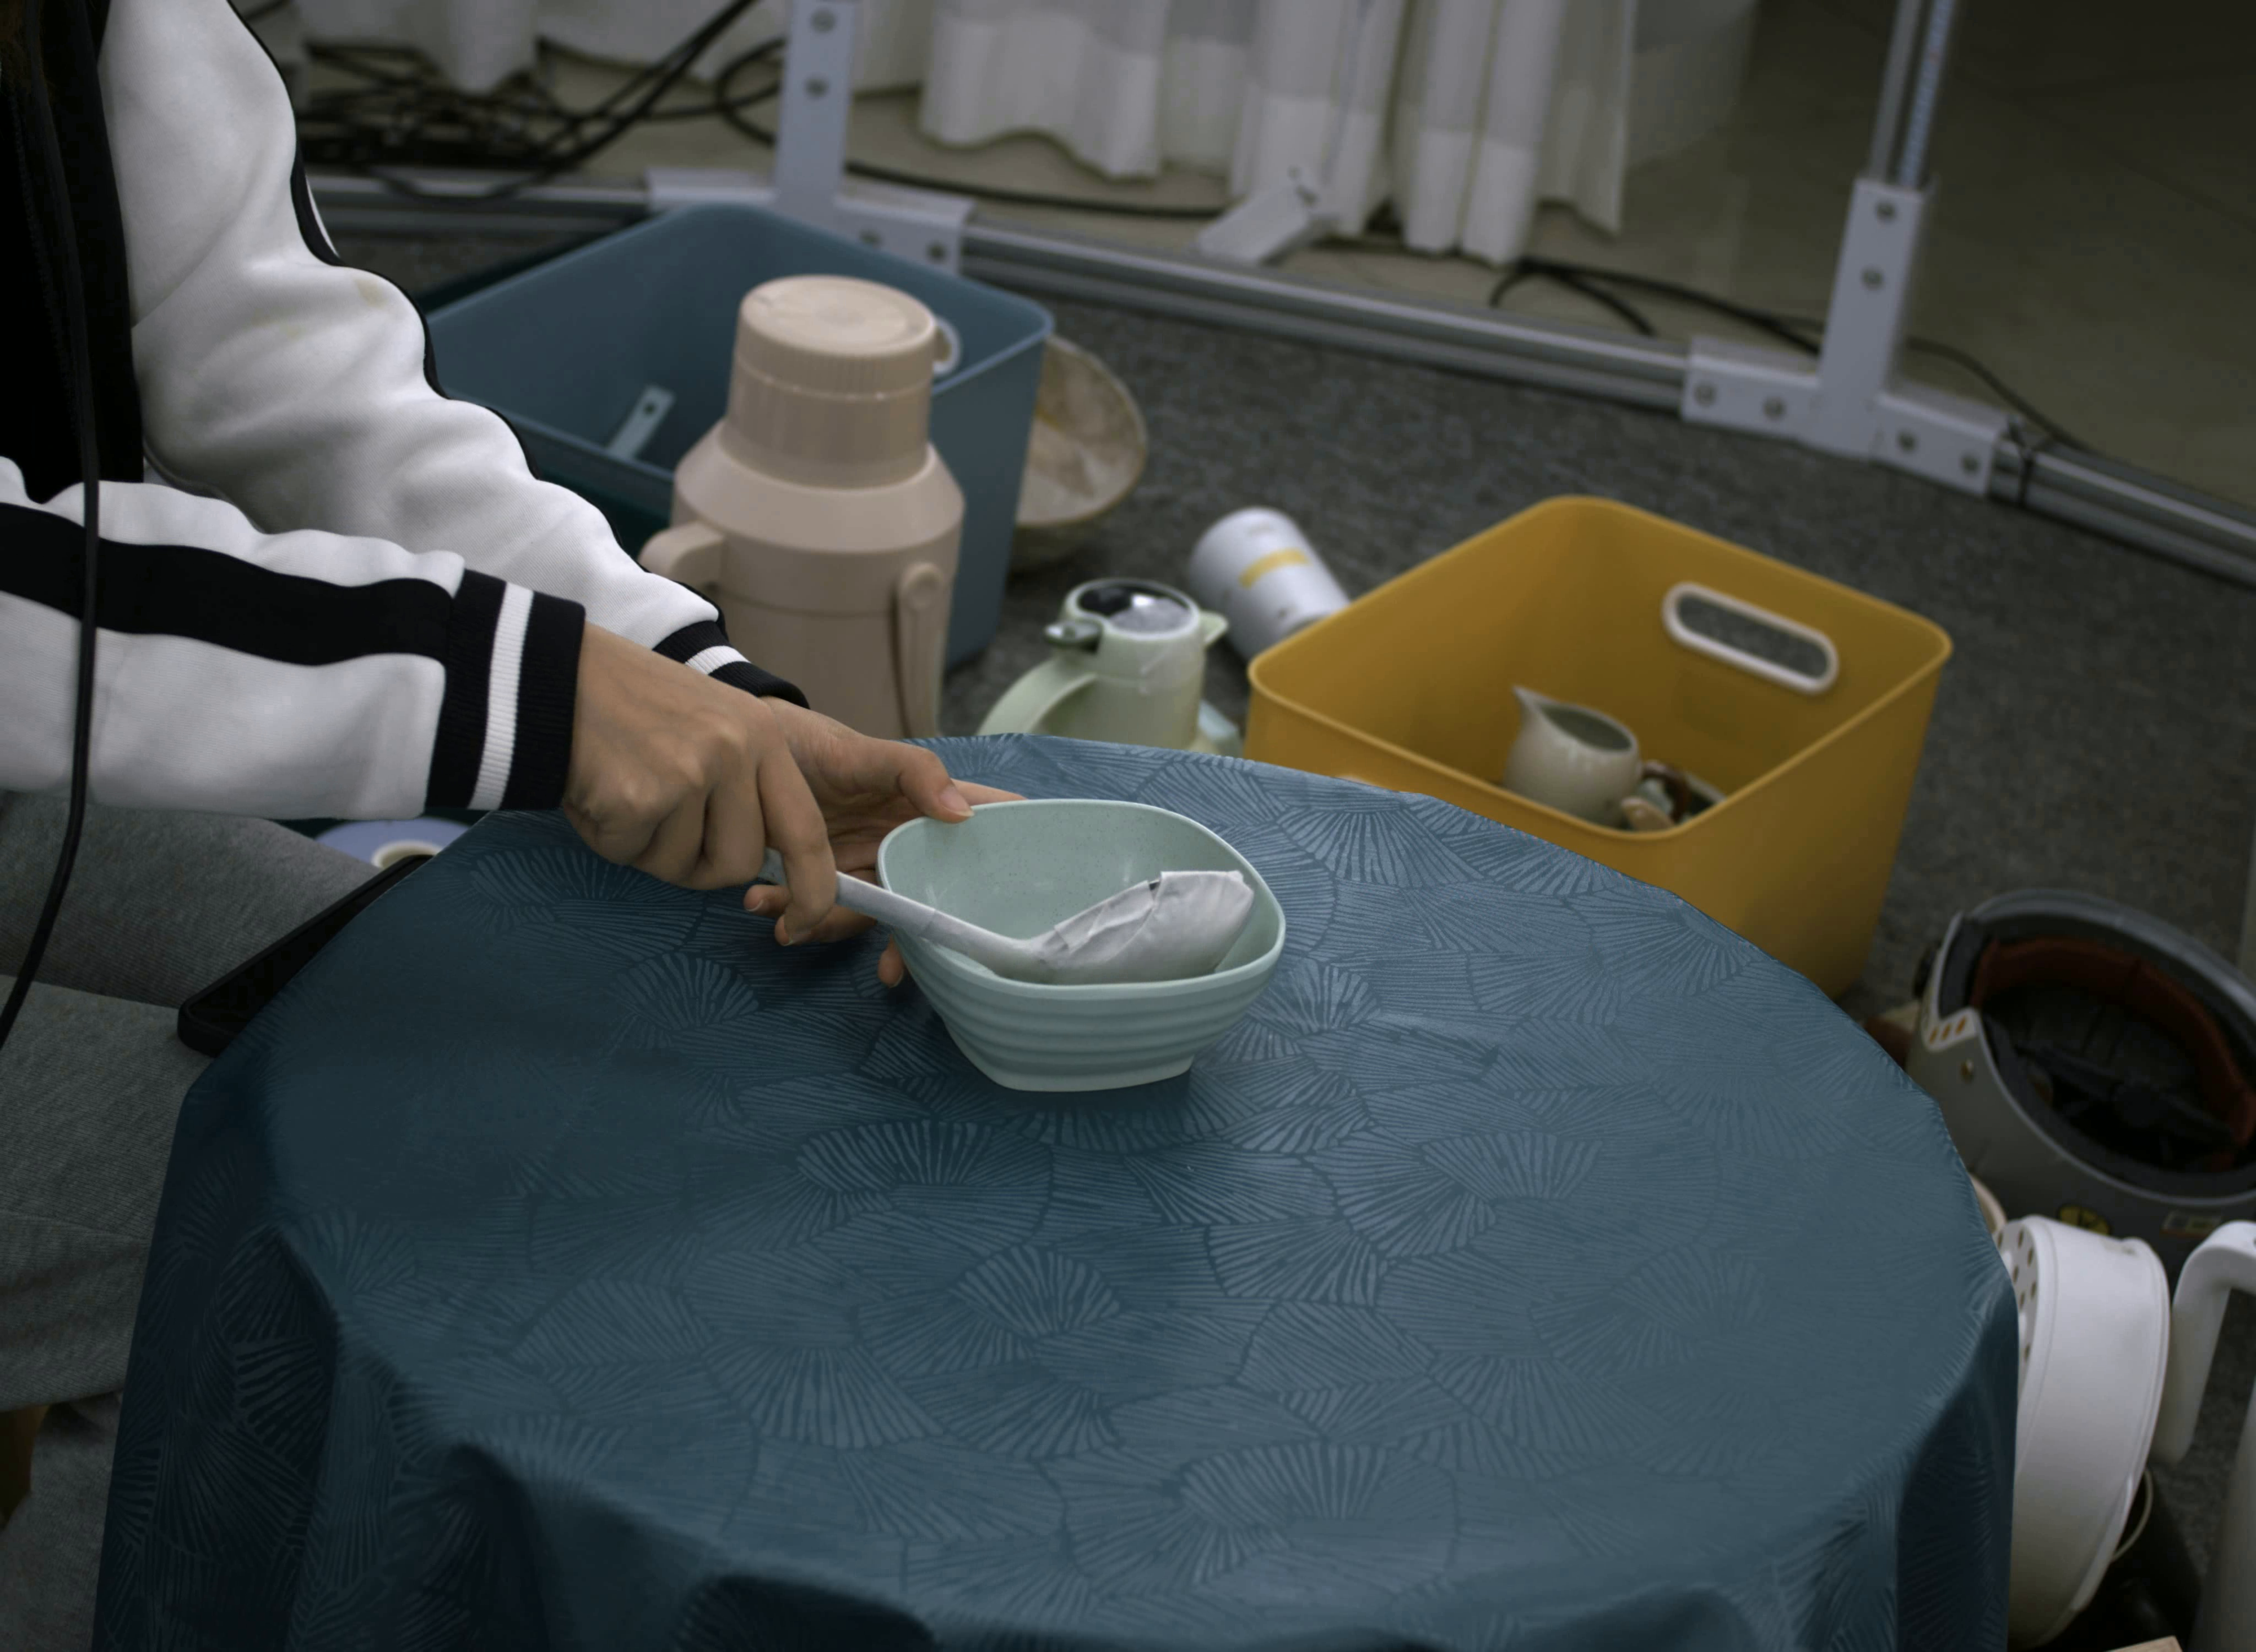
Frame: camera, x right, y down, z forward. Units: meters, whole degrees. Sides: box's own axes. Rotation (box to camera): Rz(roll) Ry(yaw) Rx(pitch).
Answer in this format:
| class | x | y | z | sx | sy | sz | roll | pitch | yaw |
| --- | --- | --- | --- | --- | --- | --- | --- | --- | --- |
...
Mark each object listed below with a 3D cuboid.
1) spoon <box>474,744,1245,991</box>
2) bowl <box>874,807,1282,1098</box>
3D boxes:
| class | x | y | z | sx | sy | sz | roll | pitch | yaw |
| --- | --- | --- | --- | --- | --- | --- | --- | --- | --- |
| spoon | -0.092 | 0.009 | 1.836 | 0.276 | 0.100 | 0.060 | 21 | 42 | -12 |
| bowl | -0.021 | 0.050 | 1.884 | 0.151 | 0.058 | 0.152 | 5 | 27 | -3 |
